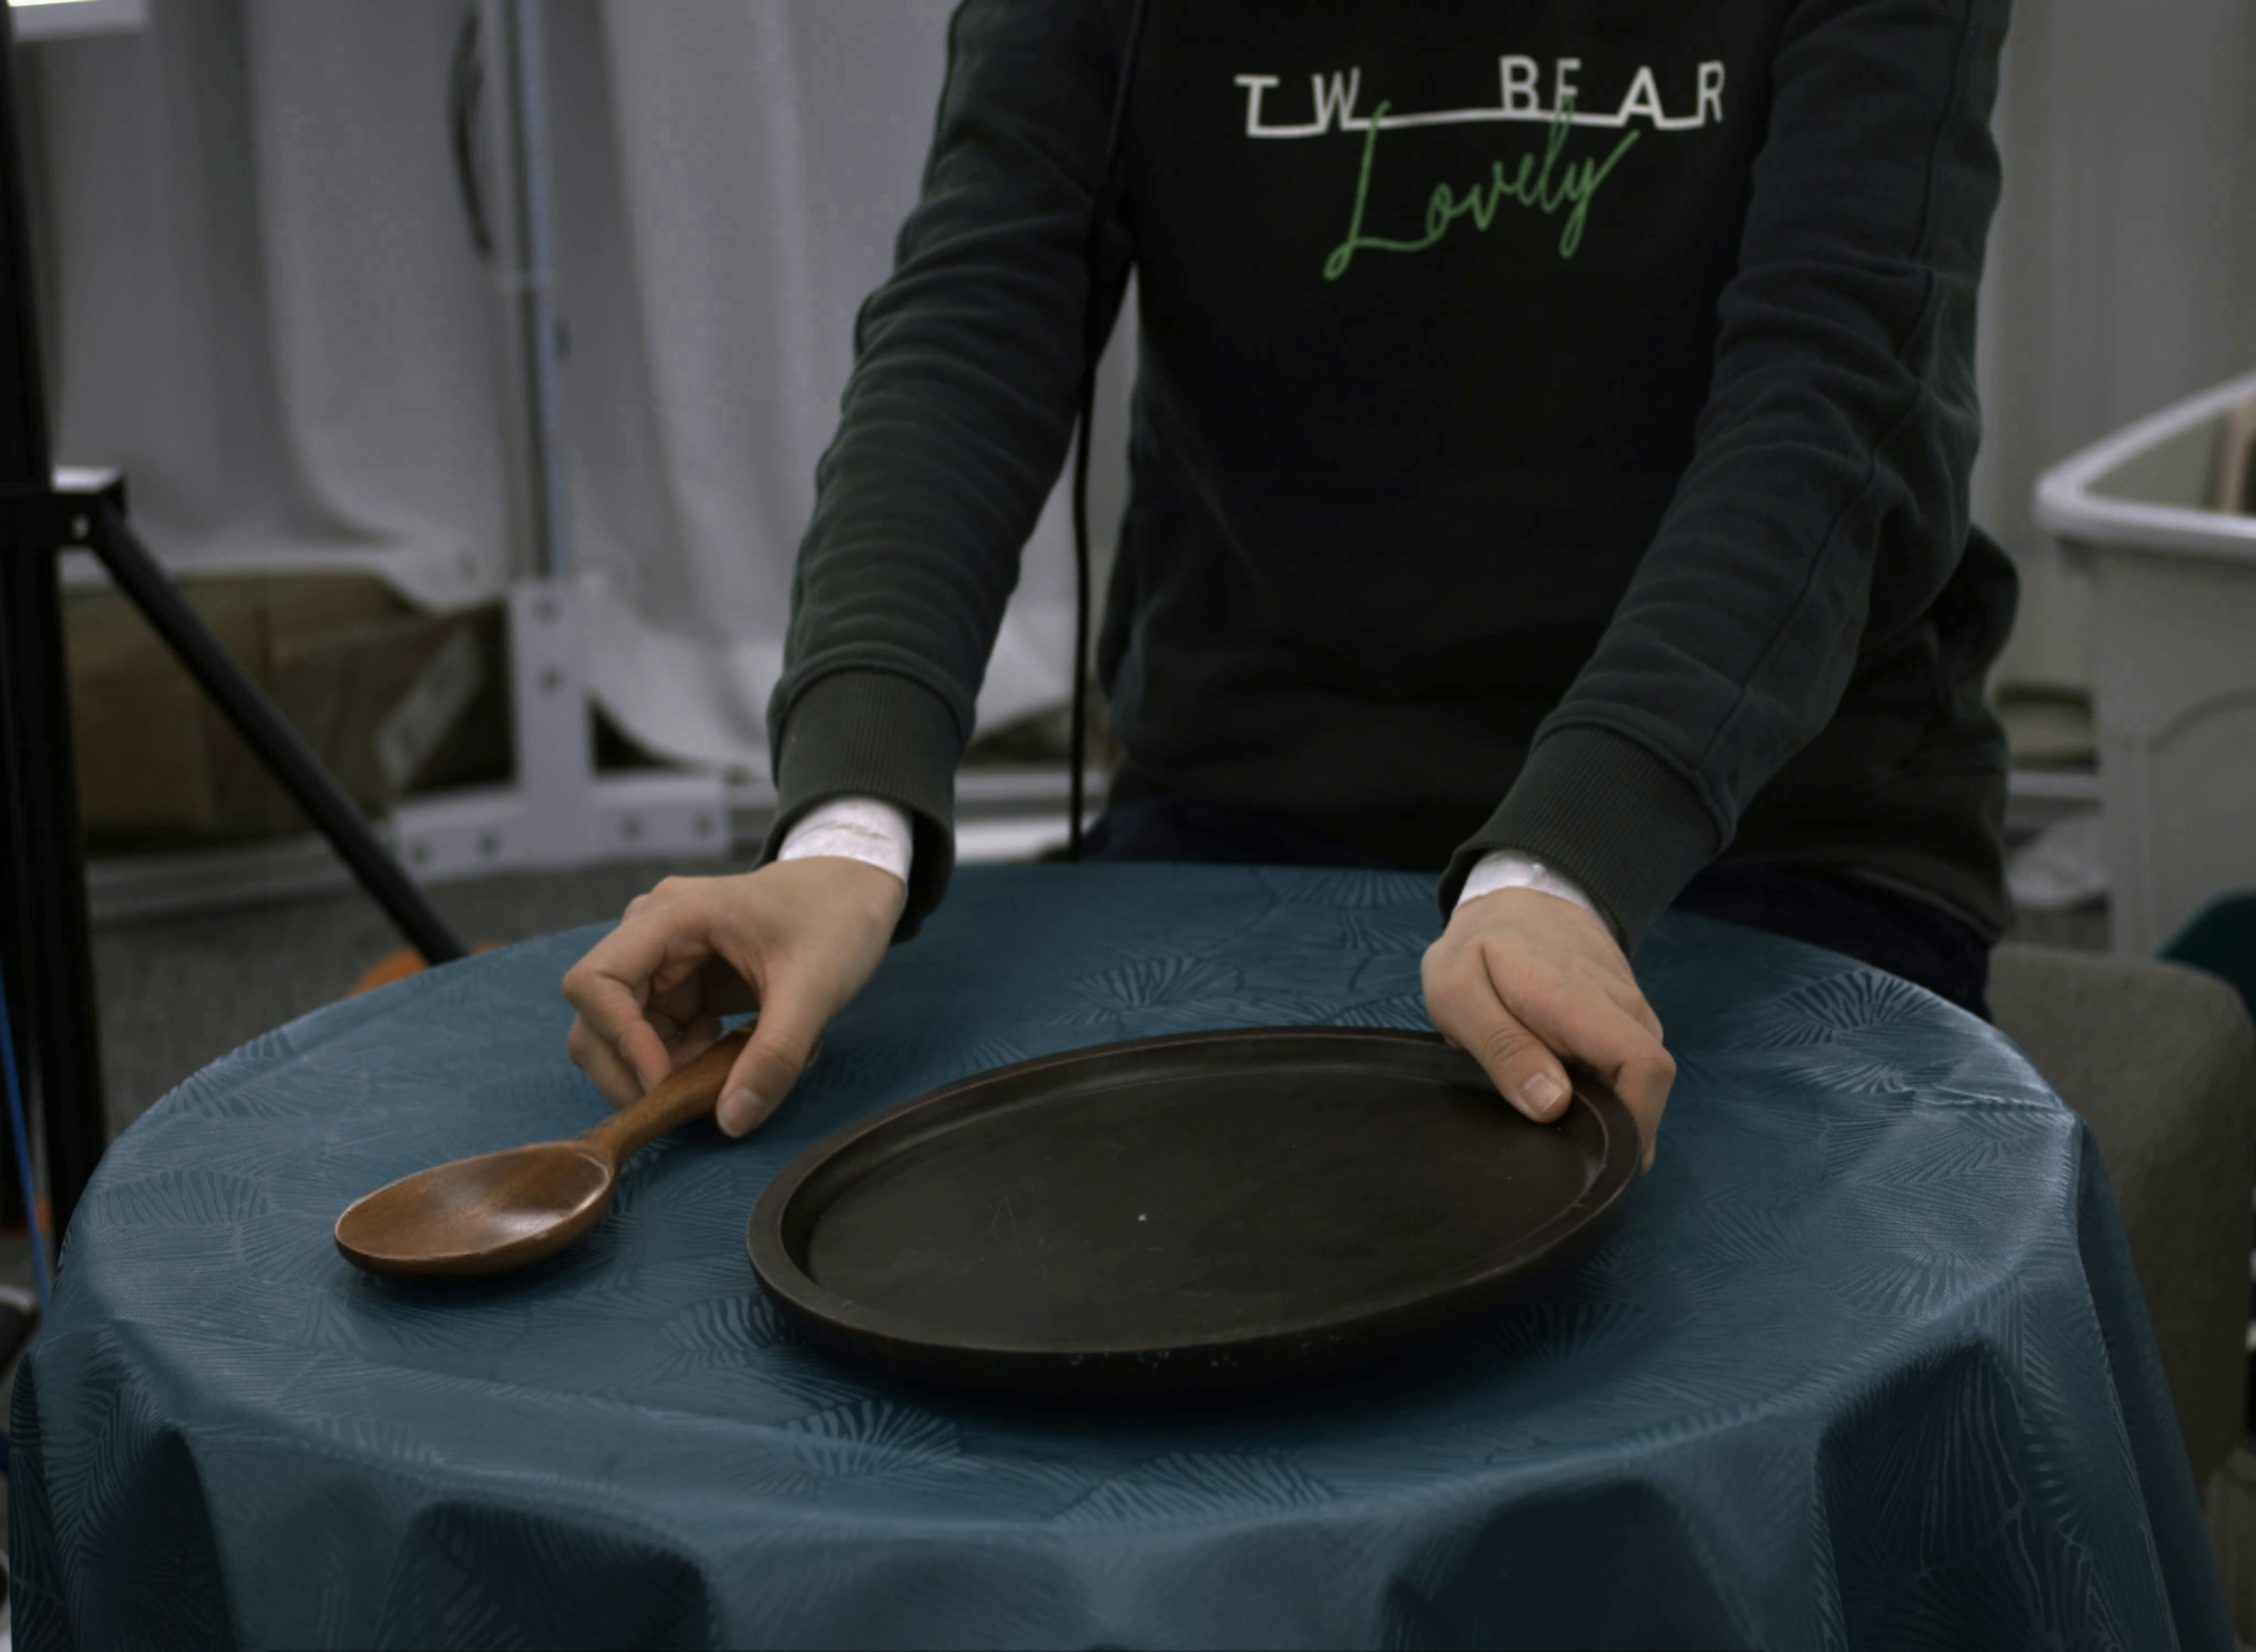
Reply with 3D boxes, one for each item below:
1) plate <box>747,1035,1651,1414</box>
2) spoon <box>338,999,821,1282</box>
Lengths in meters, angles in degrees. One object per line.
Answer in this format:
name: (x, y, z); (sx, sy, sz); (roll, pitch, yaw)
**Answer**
plate: (0.020, 0.108, 1.484); (0.254, 0.029, 0.256); (-7, 18, 1)
spoon: (-0.154, 0.095, 1.583); (0.077, 0.017, 0.212); (4, 20, 30)
